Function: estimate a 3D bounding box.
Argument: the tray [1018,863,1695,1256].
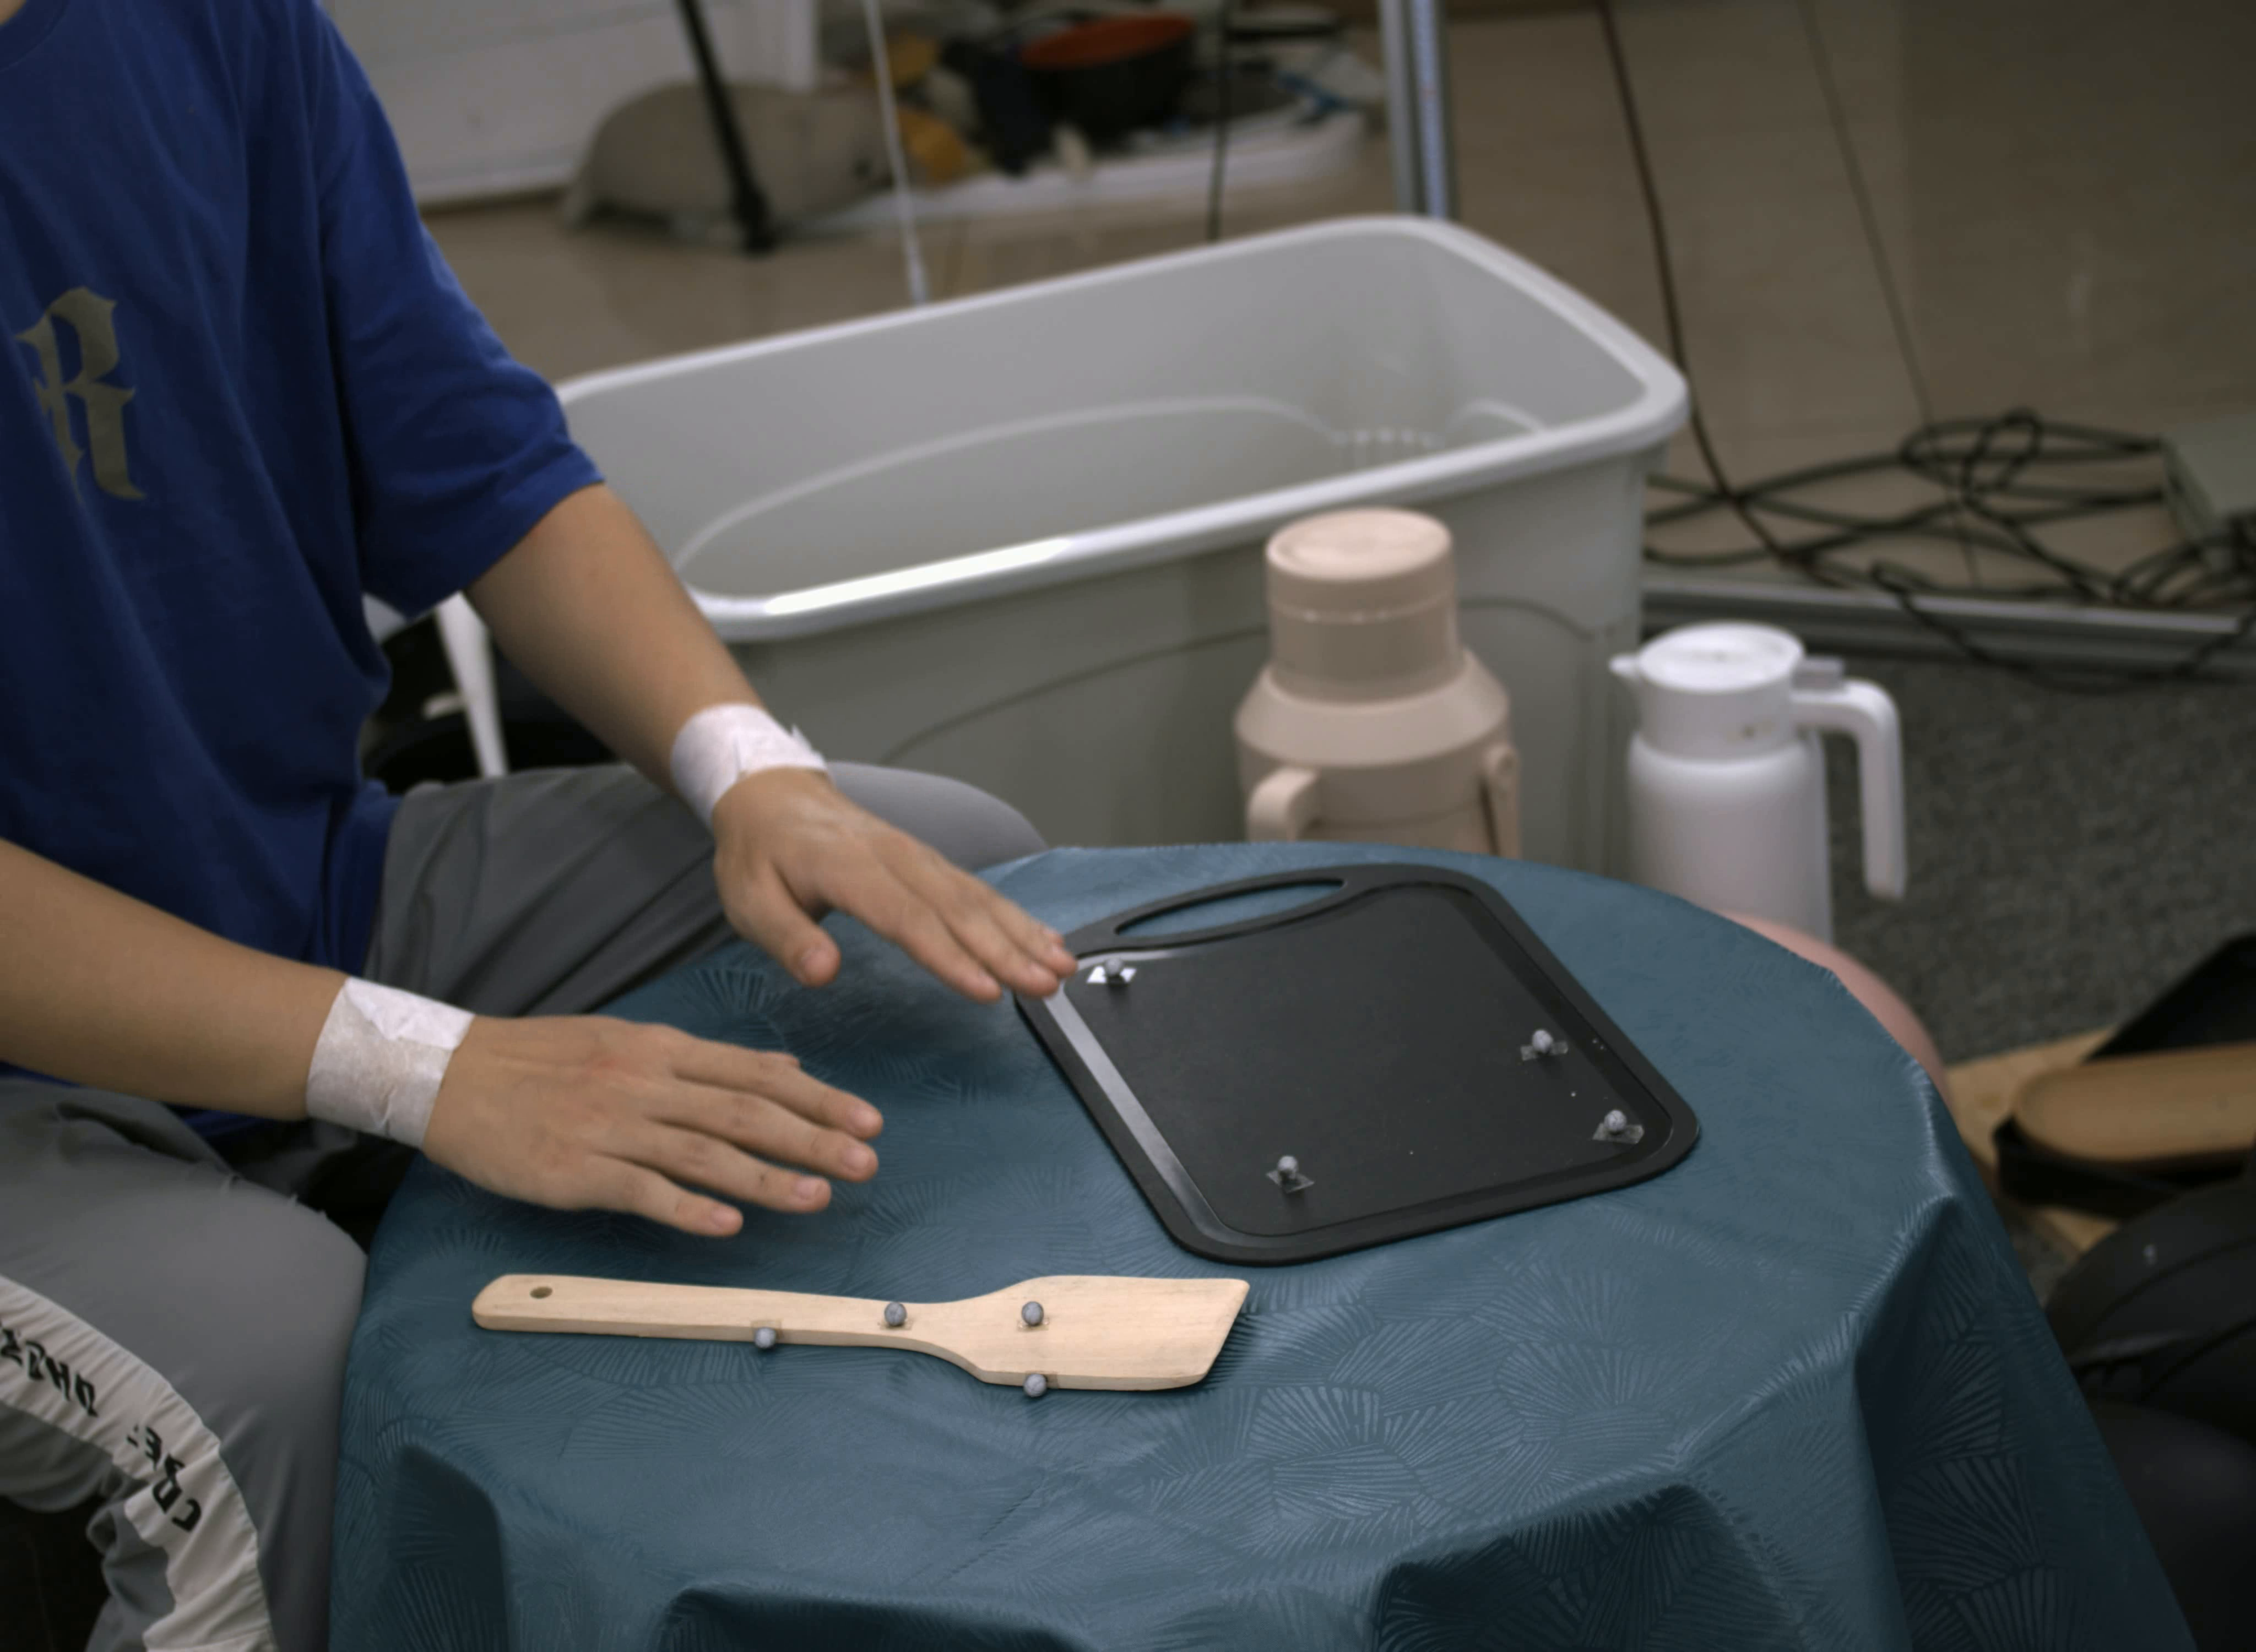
[{"bbox_3d":[0.081,0.084,2.237,0.210,0.010,0.321,-12,25,-12],"label":"tray"}]

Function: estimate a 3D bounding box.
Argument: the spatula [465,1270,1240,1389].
[{"bbox_3d":[-0.106,0.179,2.075,0.292,0.011,0.071,1,27,17],"label":"spatula"}]
